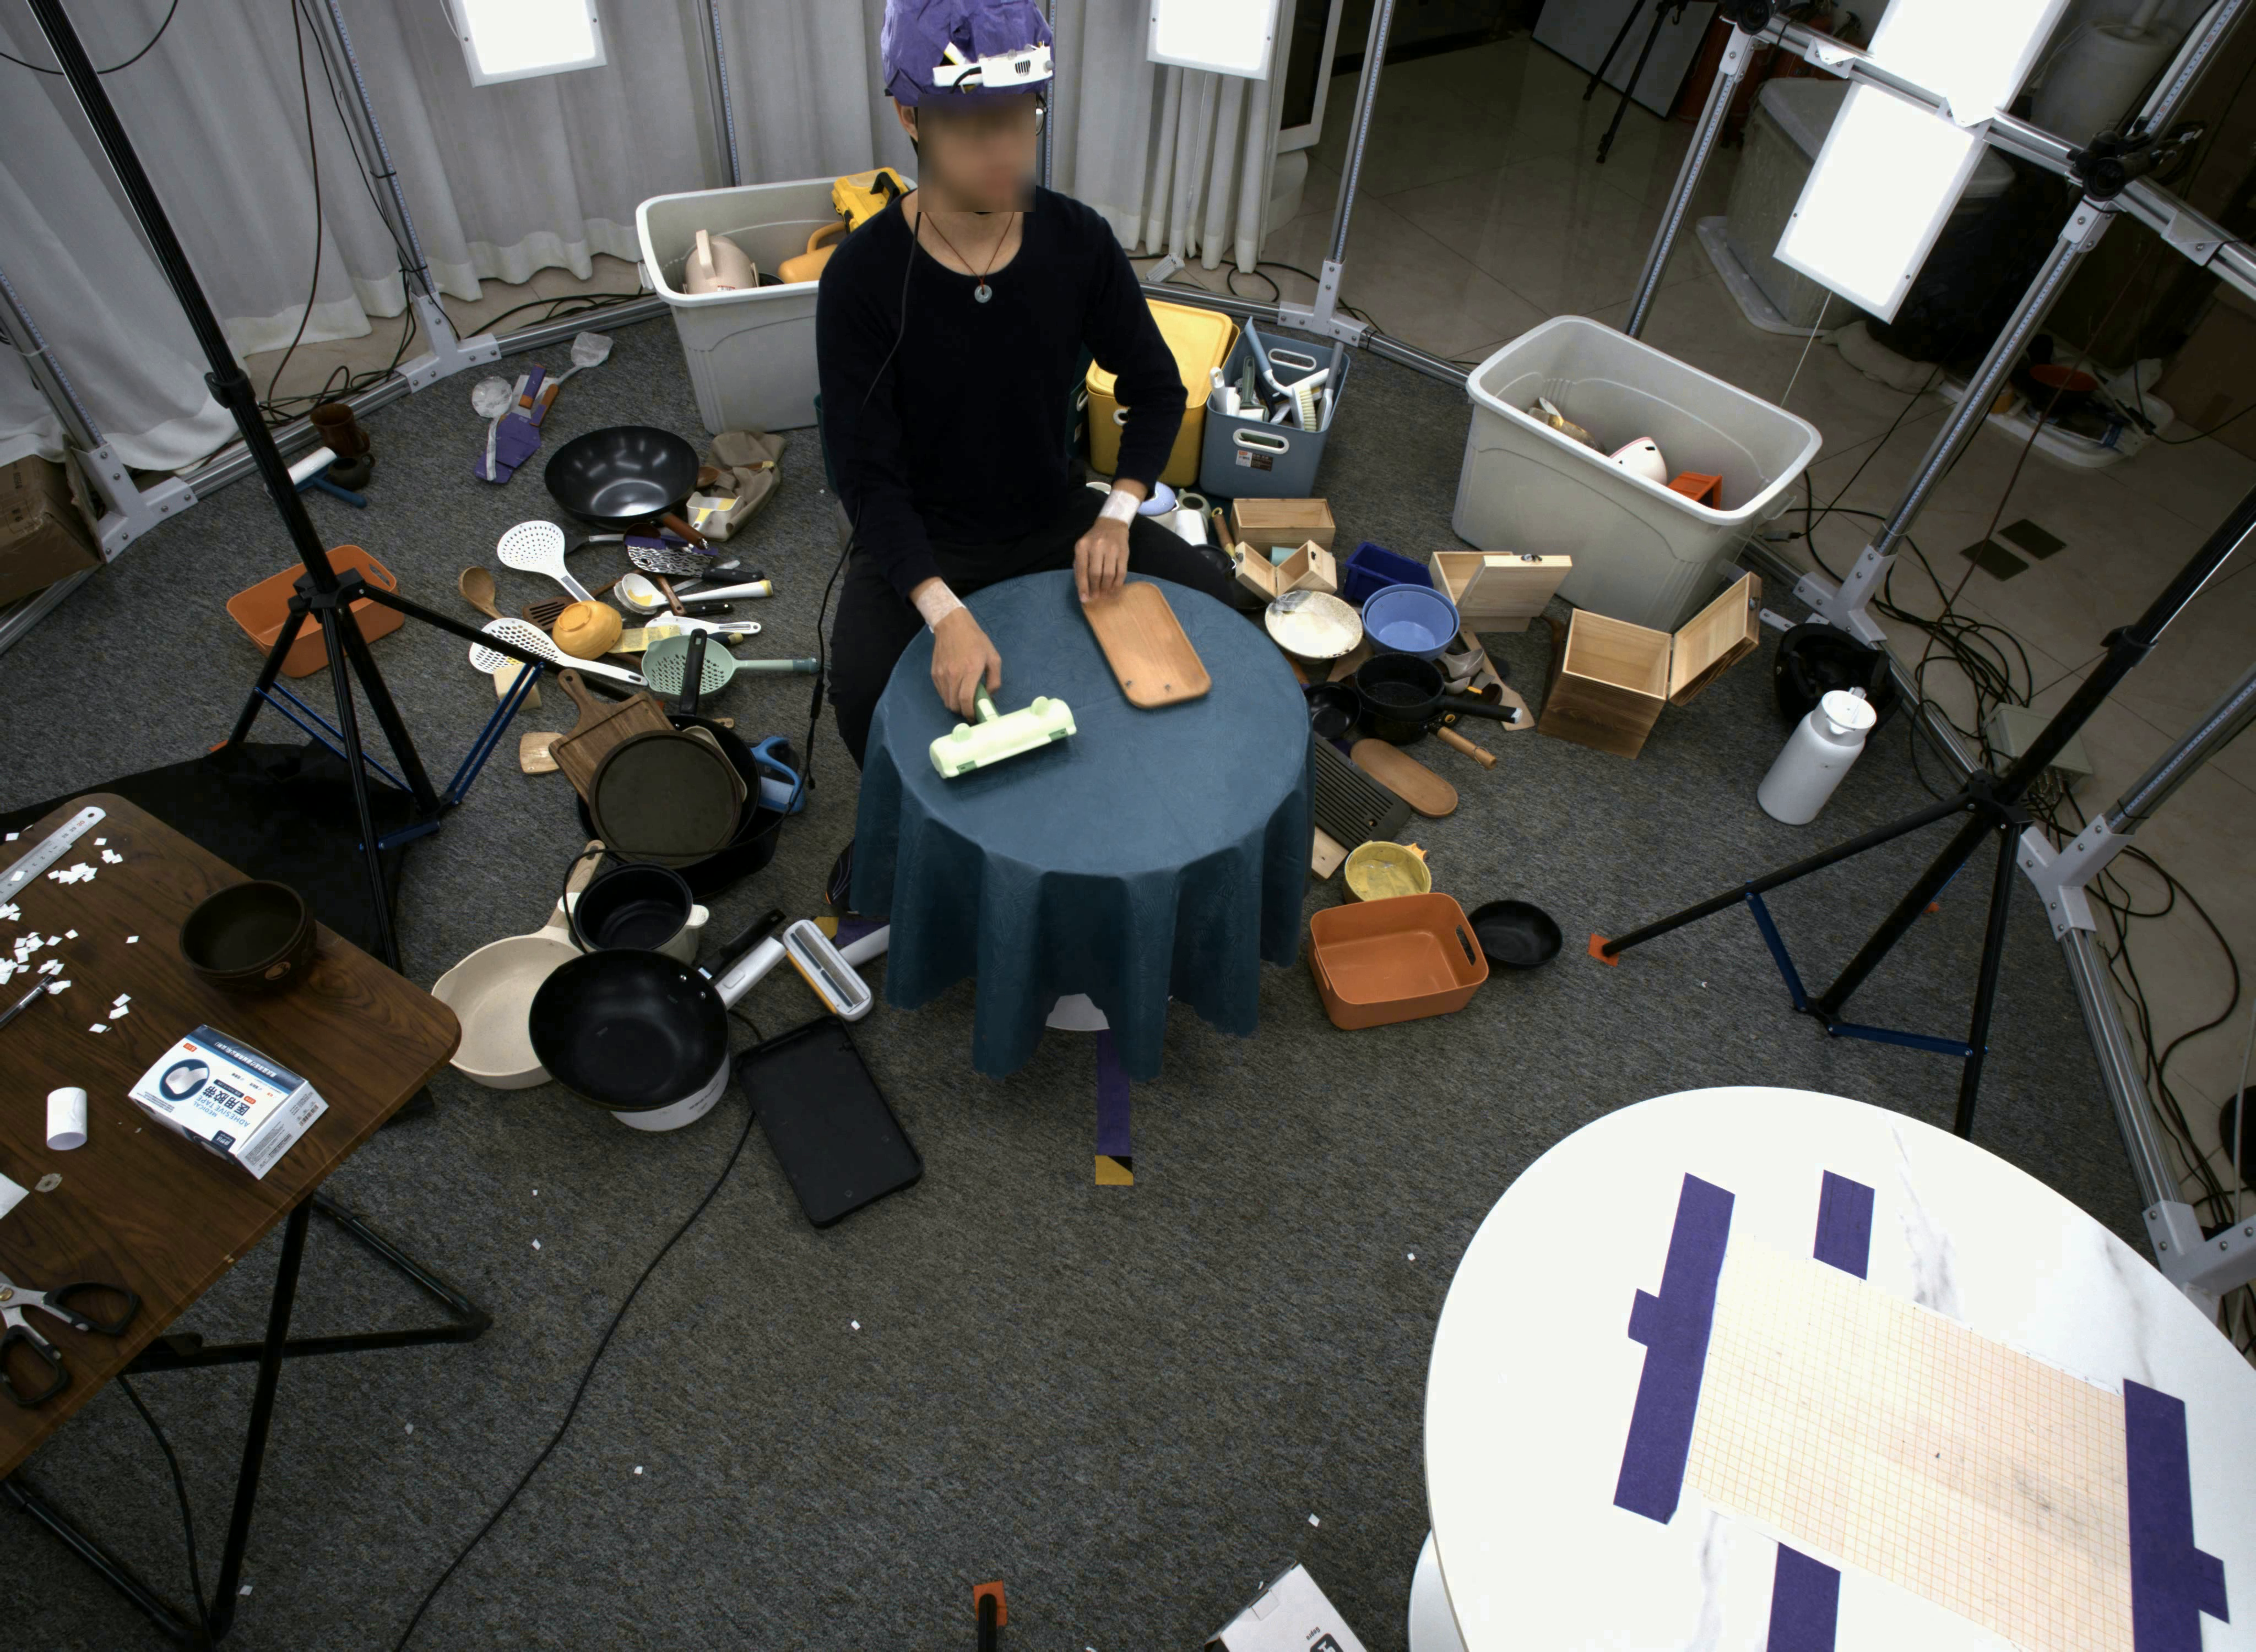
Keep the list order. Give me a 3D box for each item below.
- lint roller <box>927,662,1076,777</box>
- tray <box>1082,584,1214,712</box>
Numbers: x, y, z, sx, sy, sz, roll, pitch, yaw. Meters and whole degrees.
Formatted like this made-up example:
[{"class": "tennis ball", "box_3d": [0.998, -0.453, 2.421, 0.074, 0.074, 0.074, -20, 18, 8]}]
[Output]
[{"class": "lint roller", "box_3d": [-0.194, -0.168, 1.737, 0.199, 0.080, 0.186, -21, 66, -22]}, {"class": "tray", "box_3d": [0.027, -0.265, 1.887, 0.130, 0.022, 0.256, -12, 51, -17]}]
